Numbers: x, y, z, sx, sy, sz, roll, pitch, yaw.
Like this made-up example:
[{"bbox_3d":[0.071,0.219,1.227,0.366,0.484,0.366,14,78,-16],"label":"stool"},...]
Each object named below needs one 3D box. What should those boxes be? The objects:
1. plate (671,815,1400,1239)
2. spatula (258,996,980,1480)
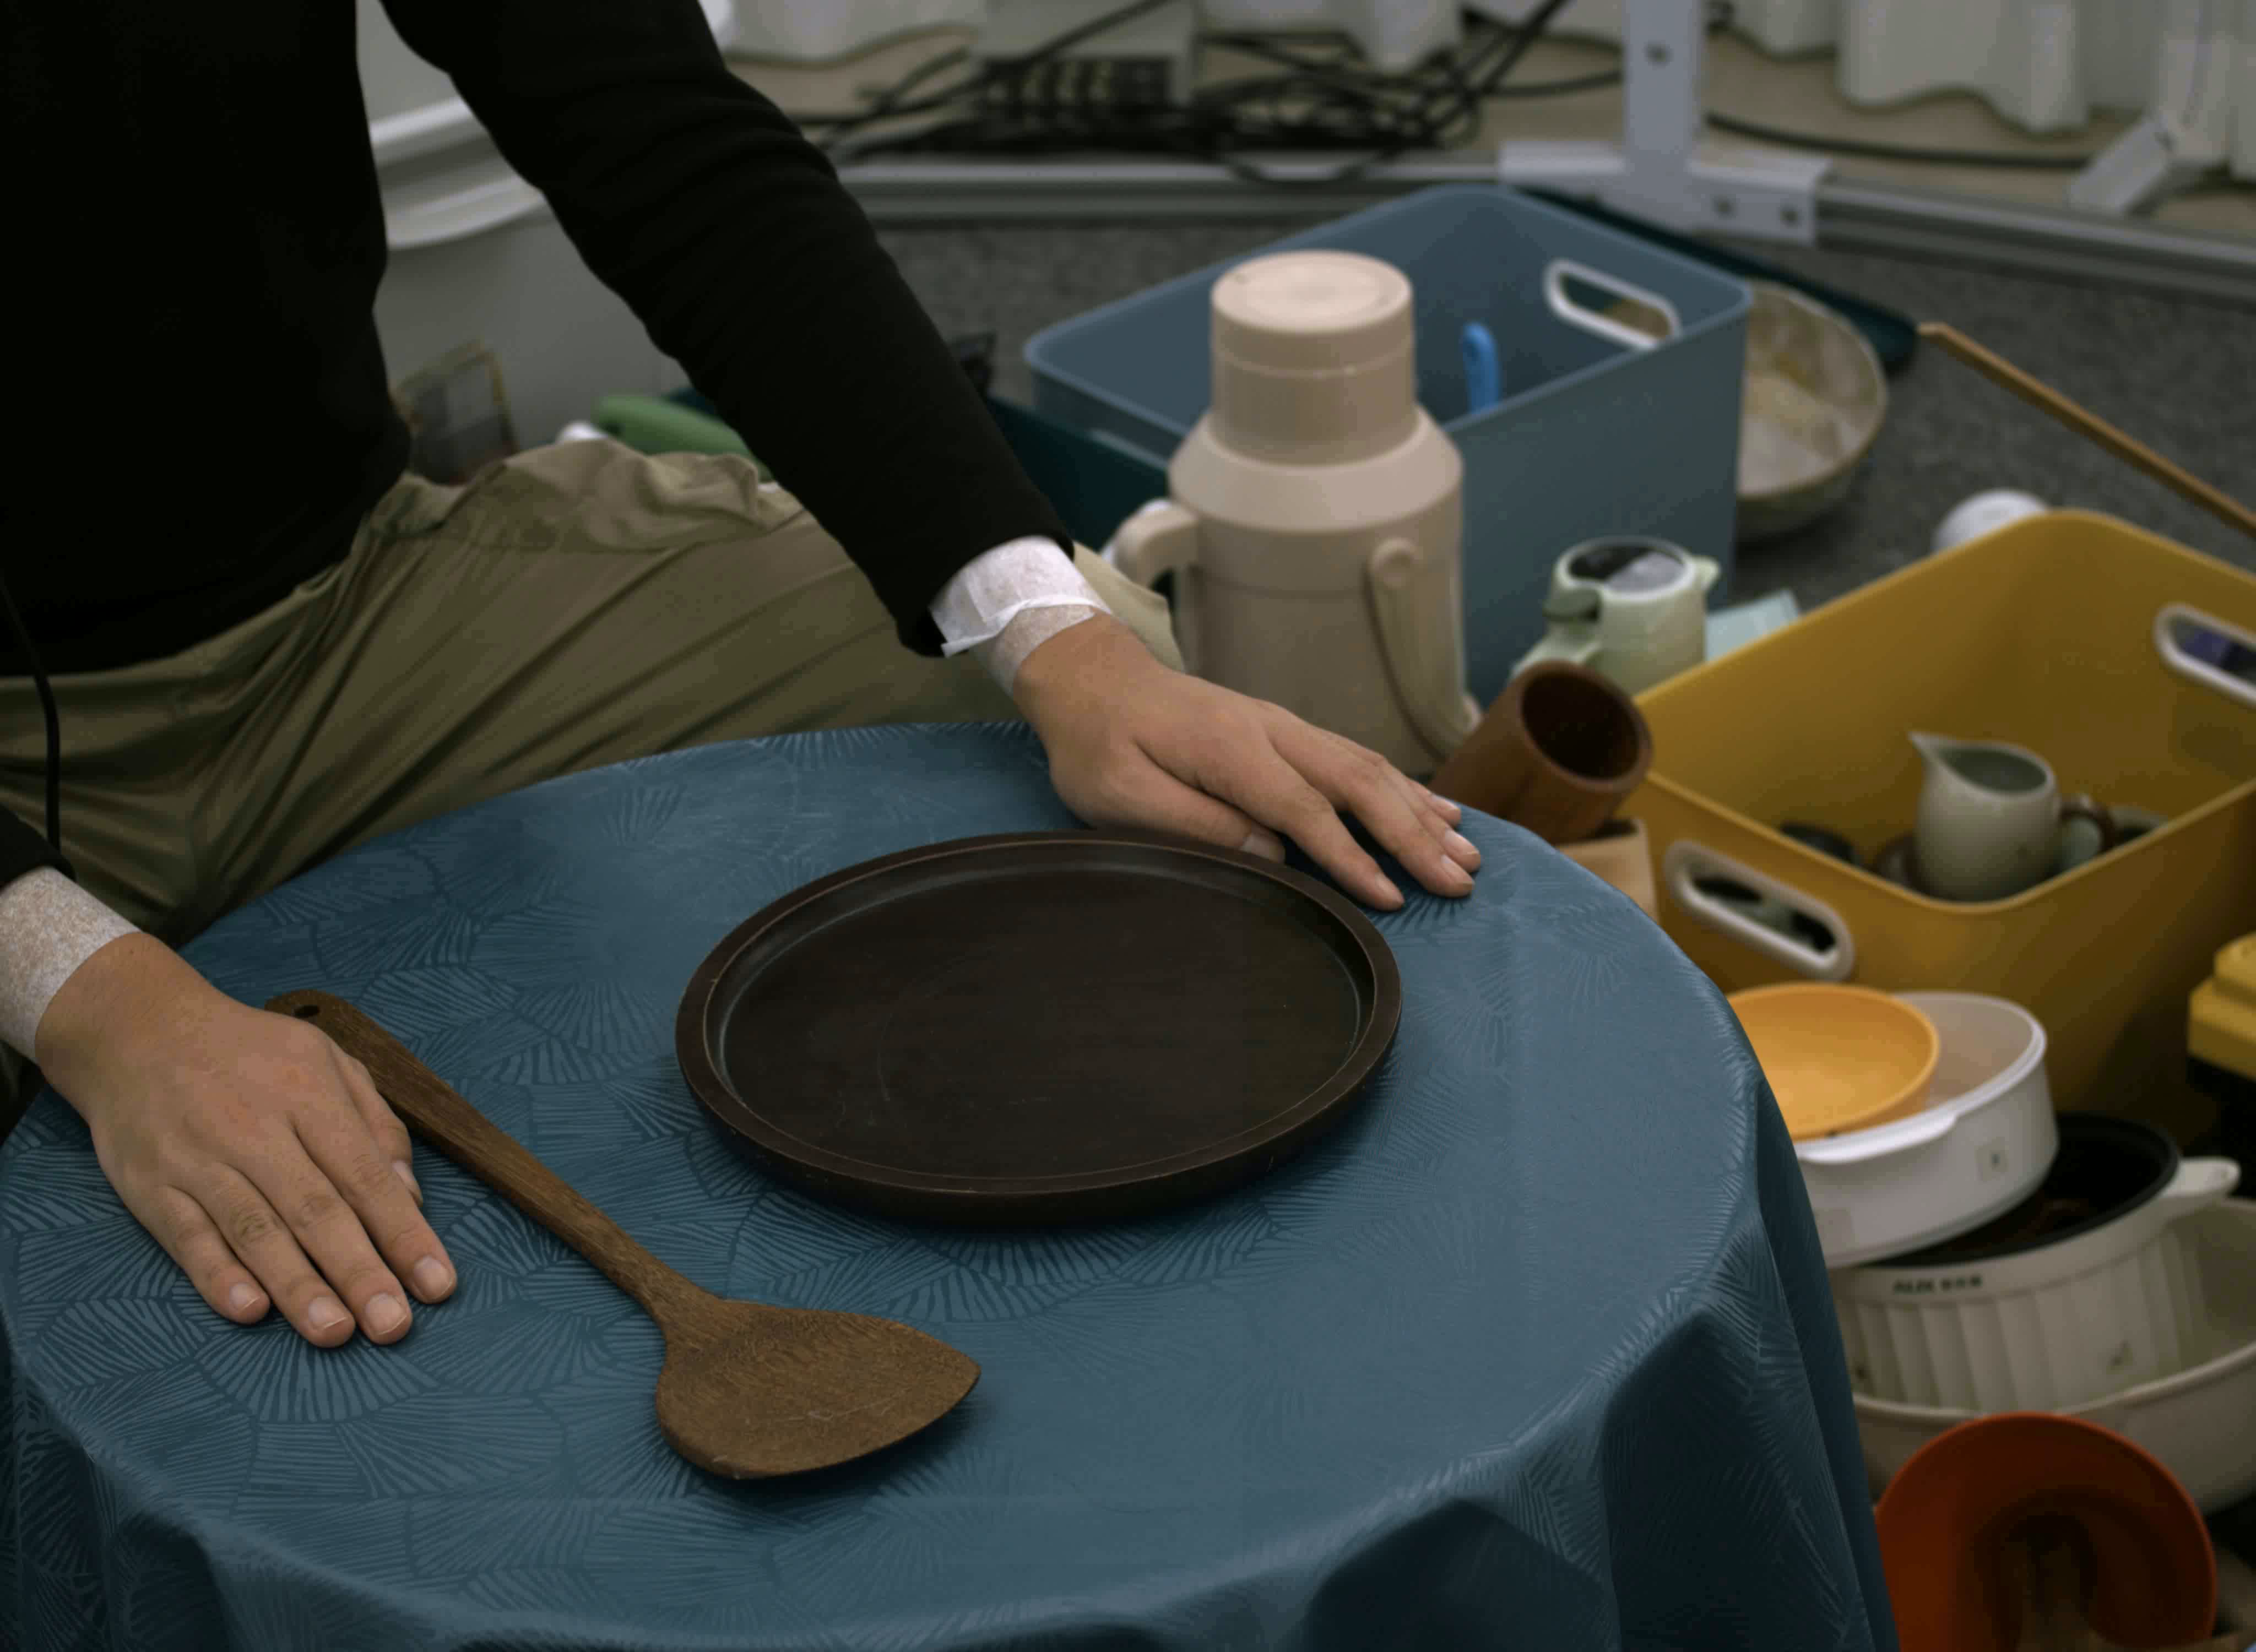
[{"bbox_3d":[-0.031,0.070,1.941,0.253,0.029,0.259,-3,29,2],"label":"plate"},{"bbox_3d":[-0.188,0.127,1.853,0.097,0.015,0.386,-20,32,-31],"label":"spatula"}]
